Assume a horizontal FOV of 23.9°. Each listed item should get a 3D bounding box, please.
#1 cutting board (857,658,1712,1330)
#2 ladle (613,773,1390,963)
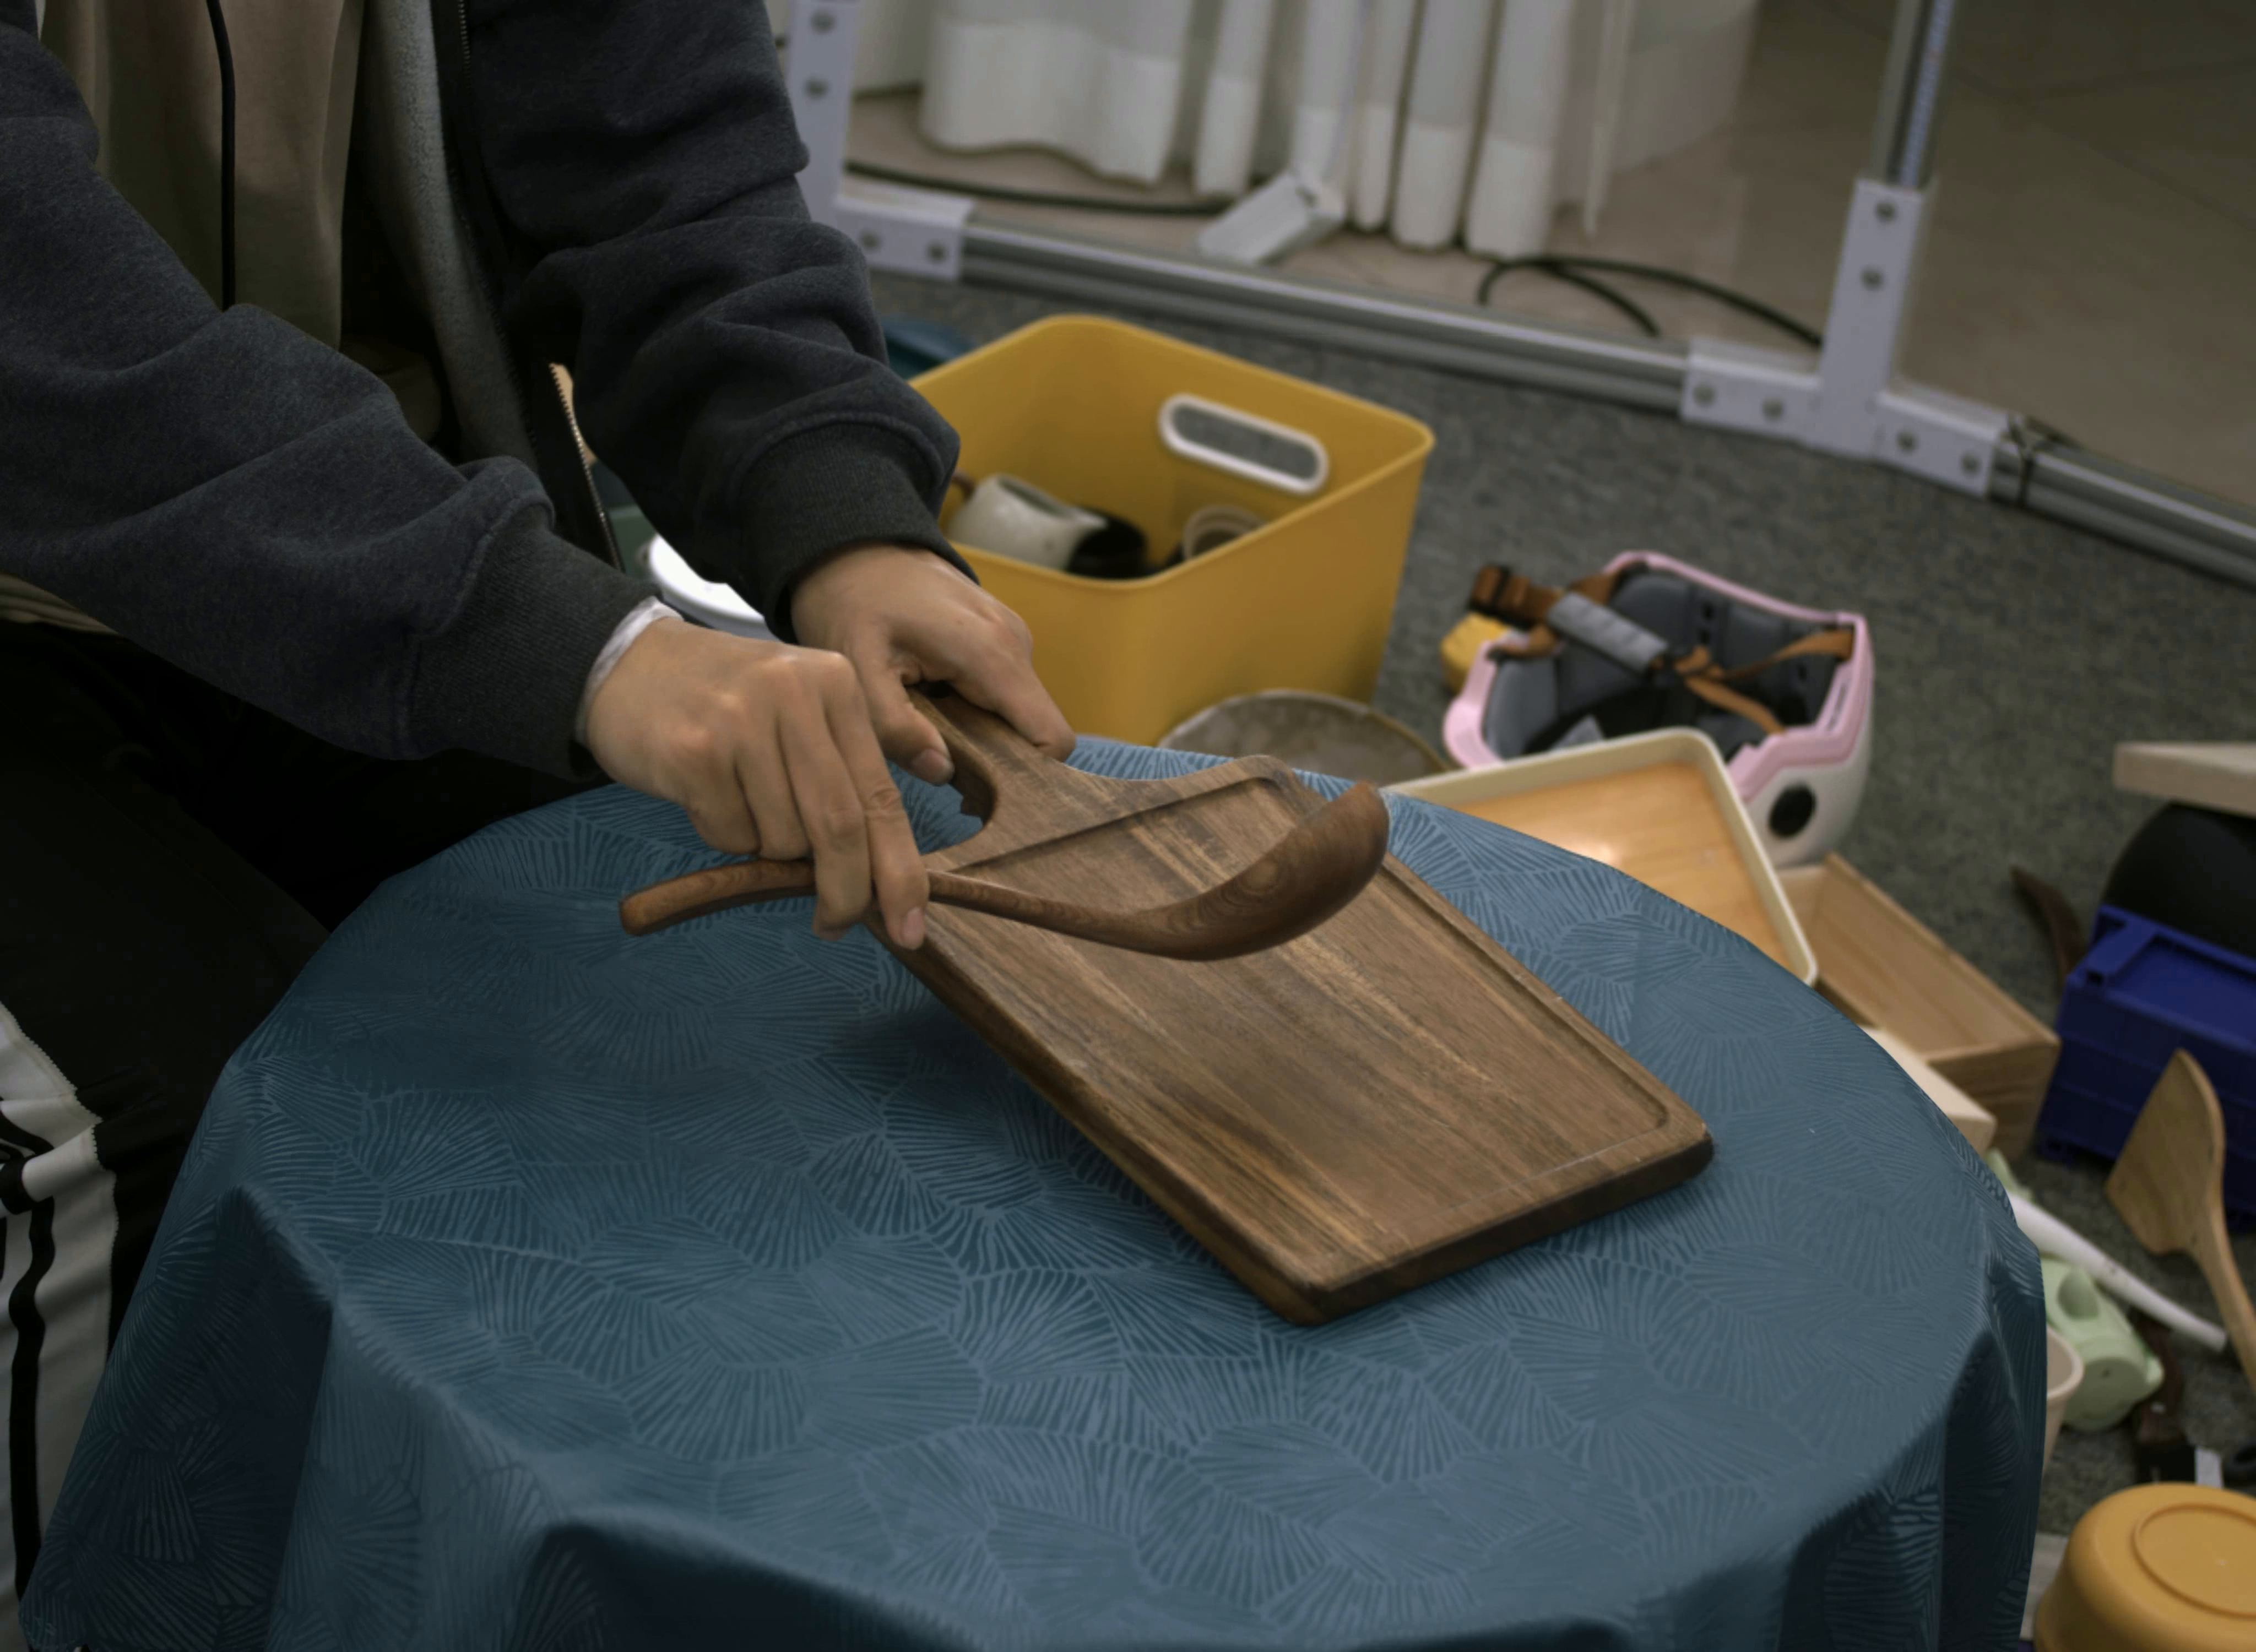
[{"bbox_3d":[0.023,0.041,1.884,0.200,0.023,0.355,-16,44,-38],"label":"cutting board"},{"bbox_3d":[-0.042,0.011,1.786,0.259,0.076,0.065,3,70,-4],"label":"ladle"}]
